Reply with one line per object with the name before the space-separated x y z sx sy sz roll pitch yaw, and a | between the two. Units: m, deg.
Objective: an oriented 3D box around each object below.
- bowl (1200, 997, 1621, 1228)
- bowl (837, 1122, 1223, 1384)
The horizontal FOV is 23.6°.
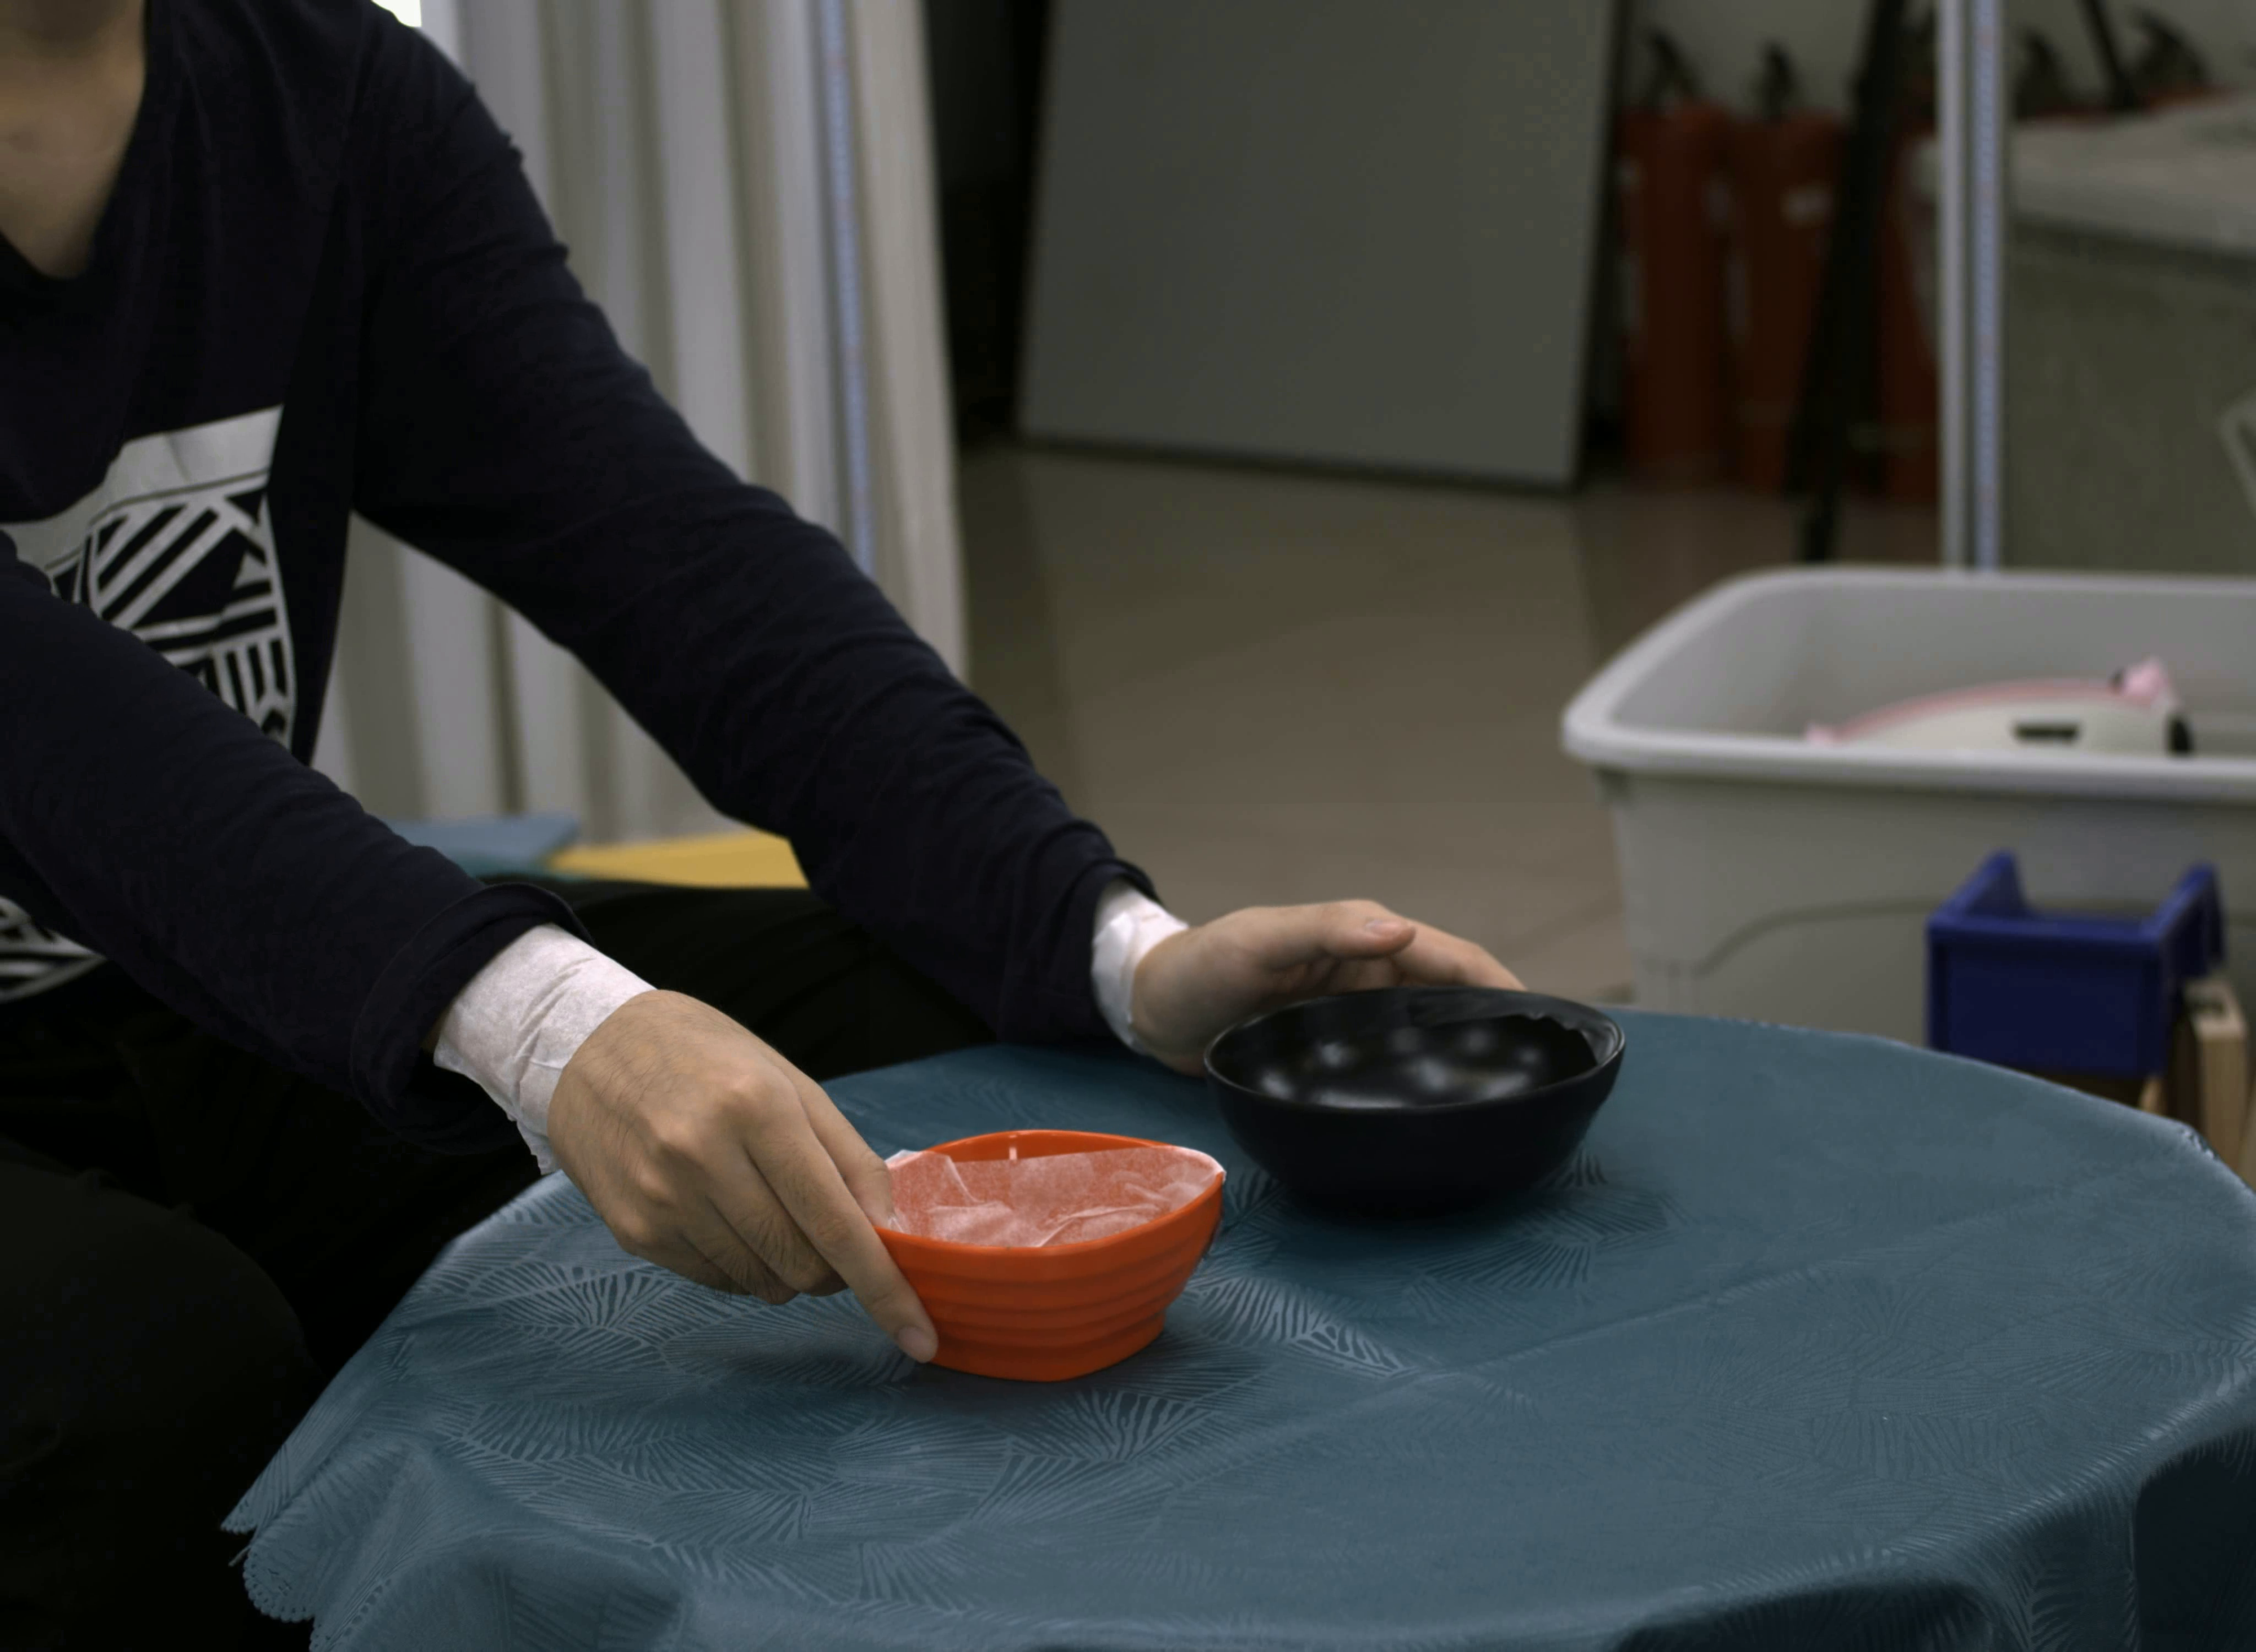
bowl | 0.094 0.097 1.753 0.138 0.050 0.140 -7 11 0
bowl | -0.028 0.131 1.629 0.117 0.052 0.119 -3 15 0
